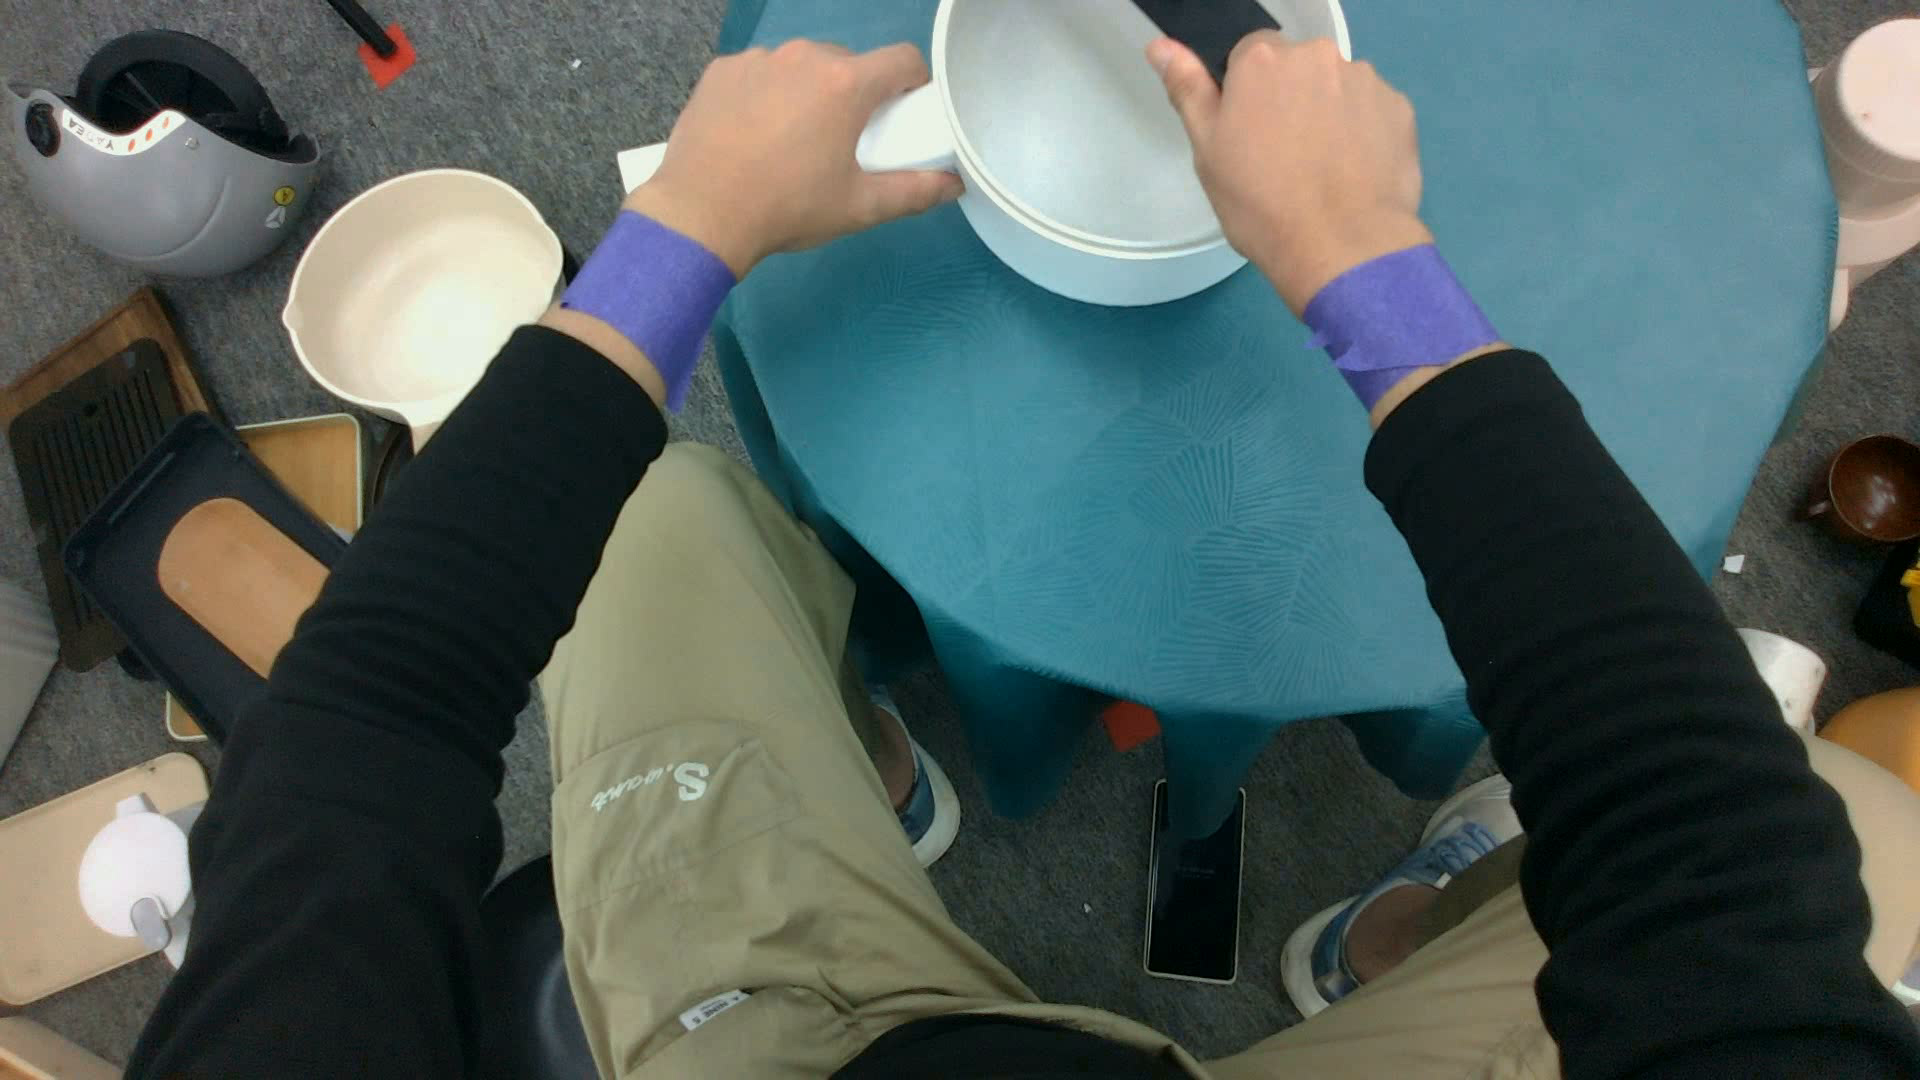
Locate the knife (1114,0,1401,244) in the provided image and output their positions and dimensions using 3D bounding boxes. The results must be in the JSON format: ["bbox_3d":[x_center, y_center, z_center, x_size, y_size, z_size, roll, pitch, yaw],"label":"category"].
[{"bbox_3d":[0.097,-0.252,0.635,0.081,0.021,0.302,-27,74,-31],"label":"knife"}]

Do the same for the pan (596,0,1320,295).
[{"bbox_3d":[0.001,-0.208,0.708,0.355,0.102,0.201,-15,80,-3],"label":"pan"}]
